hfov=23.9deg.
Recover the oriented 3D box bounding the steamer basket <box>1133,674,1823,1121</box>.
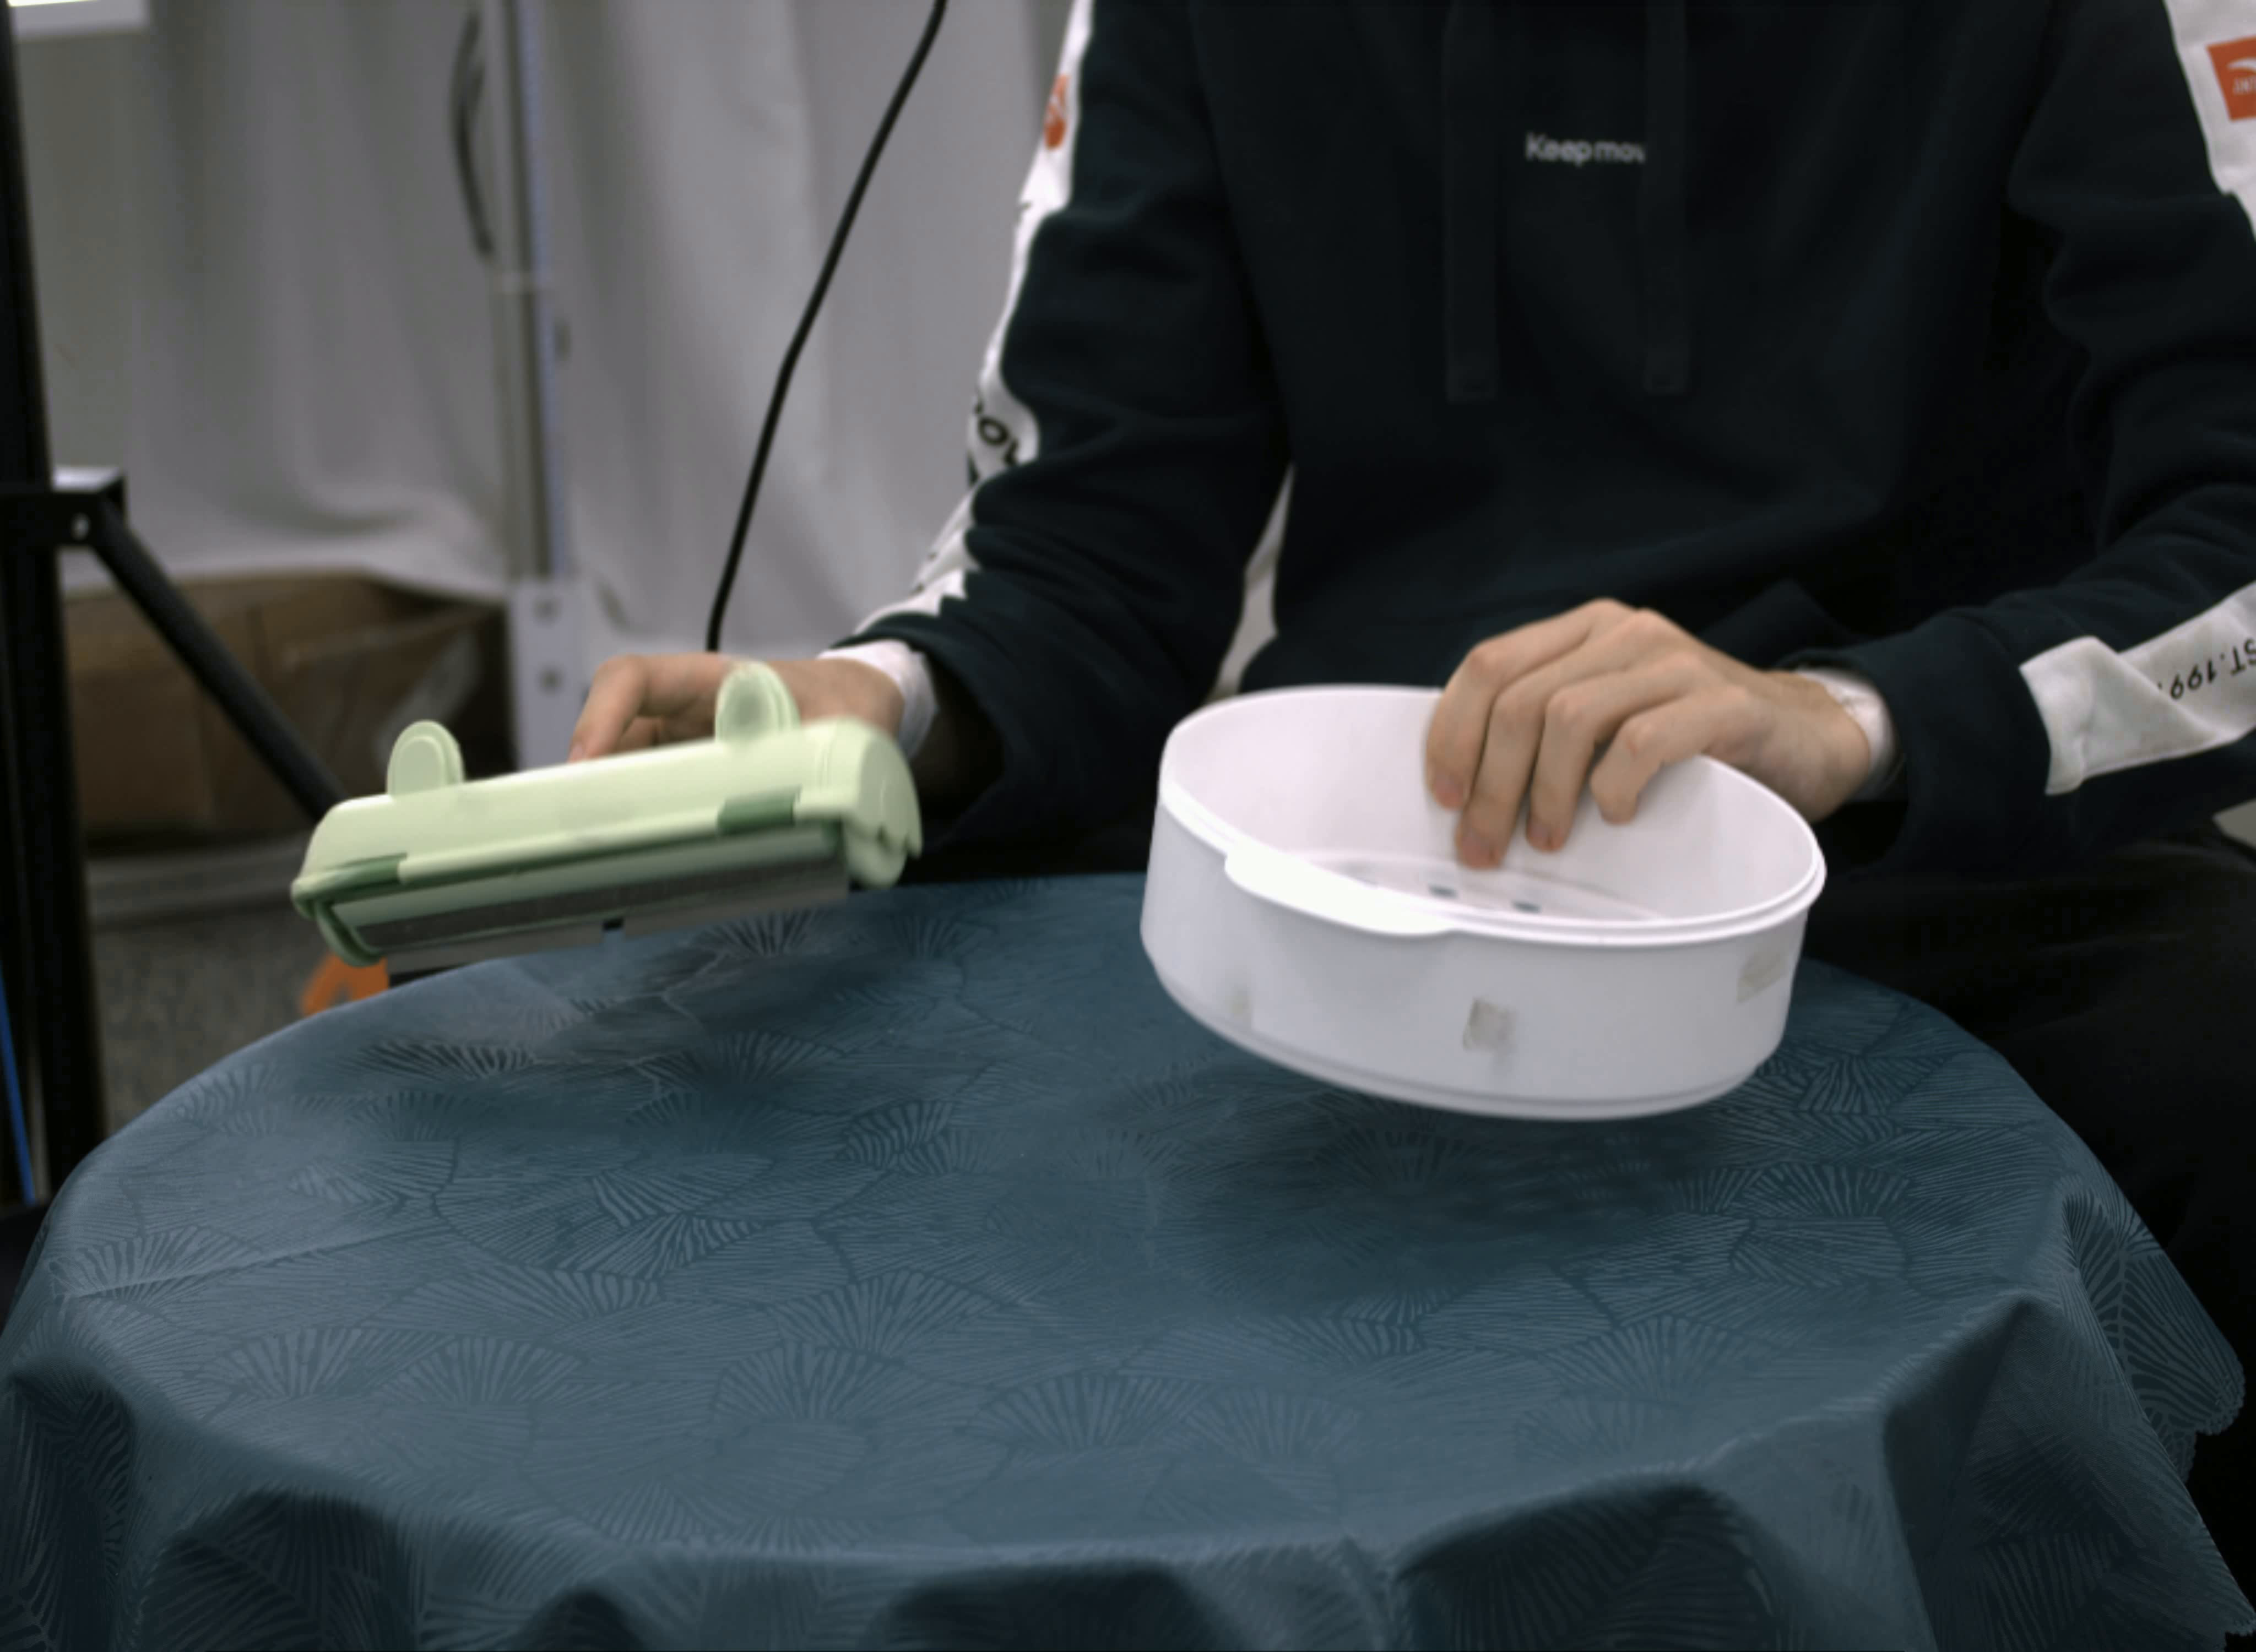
[{"bbox_3d":[0.100,0.021,1.561,0.205,0.069,0.226,18,23,26],"label":"steamer basket"}]

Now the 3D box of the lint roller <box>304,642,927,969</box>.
[{"bbox_3d":[-0.149,-0.020,1.735,0.201,0.082,0.181,-12,13,21],"label":"lint roller"}]
